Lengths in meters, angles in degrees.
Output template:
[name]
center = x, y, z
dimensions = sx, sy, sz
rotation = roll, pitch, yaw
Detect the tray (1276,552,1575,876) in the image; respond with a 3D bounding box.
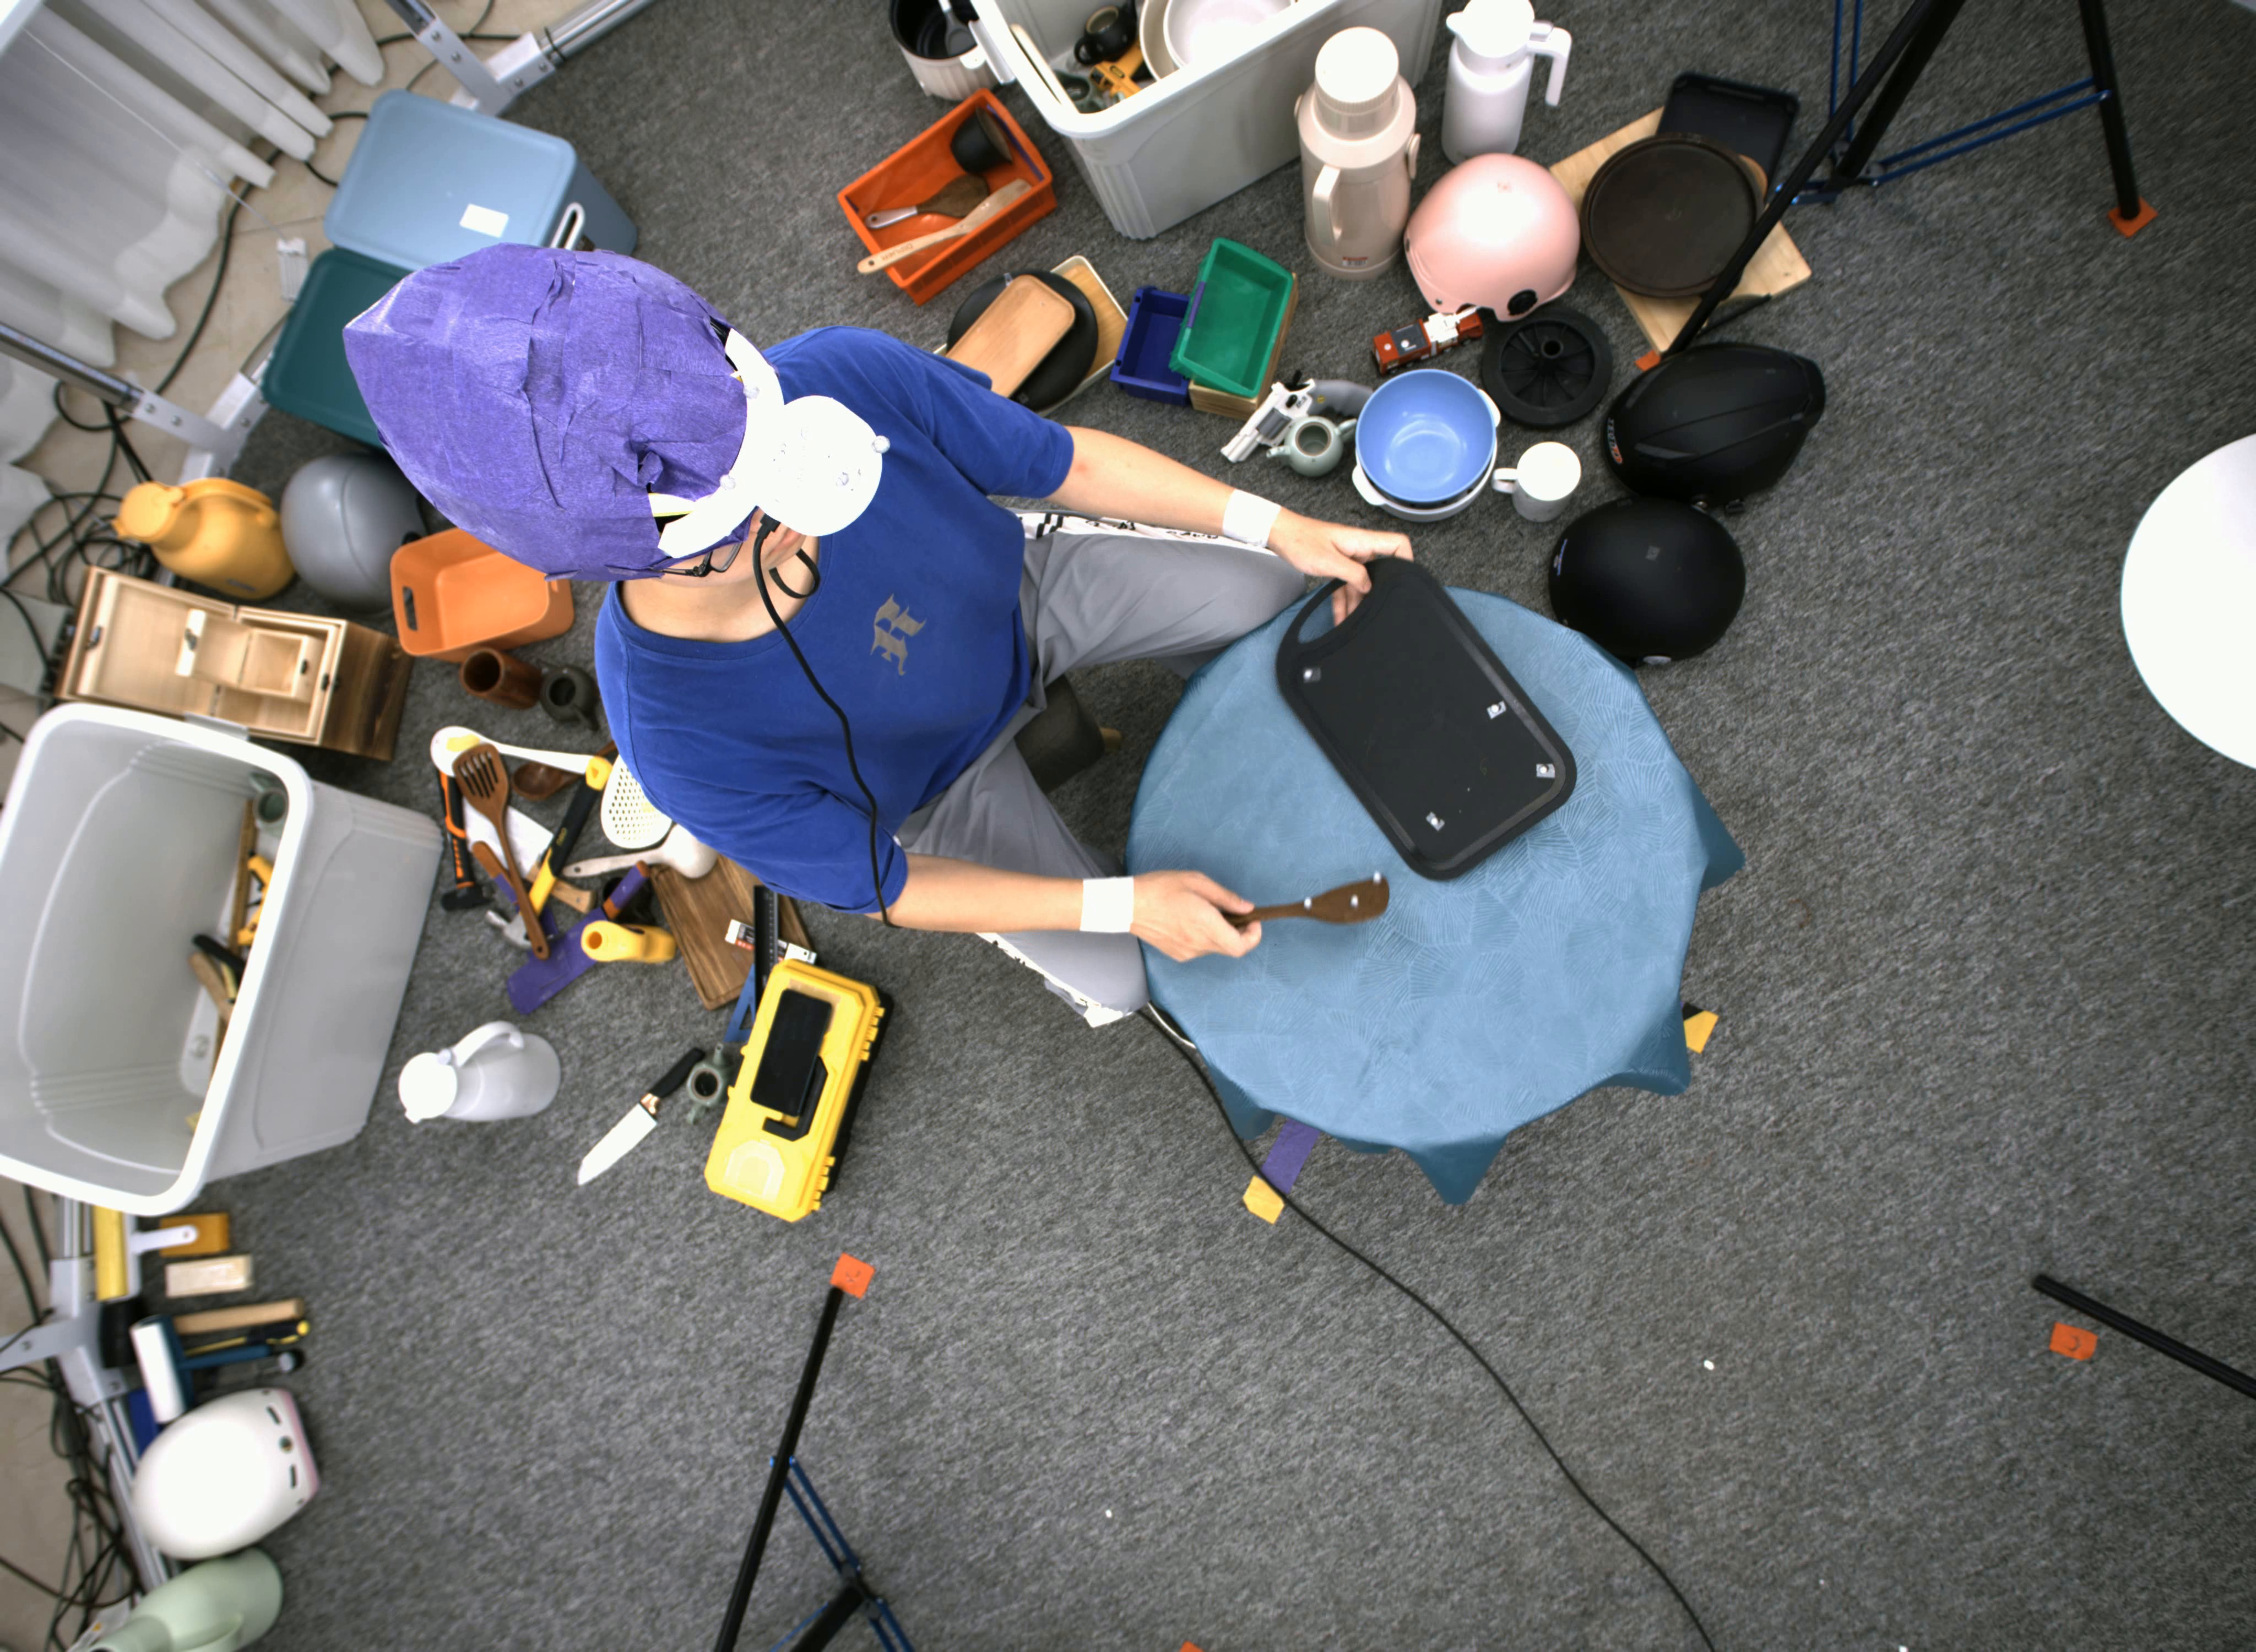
[tray]
center = 0.293, -0.119, 1.408
dimensions = 0.215, 0.009, 0.324
rotation = -38, 84, 33

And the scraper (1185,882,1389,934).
[scraper]
center = 0.161, 0.090, 1.411
dimensions = 0.213, 0.074, 0.011
rotation = -8, 118, 17
